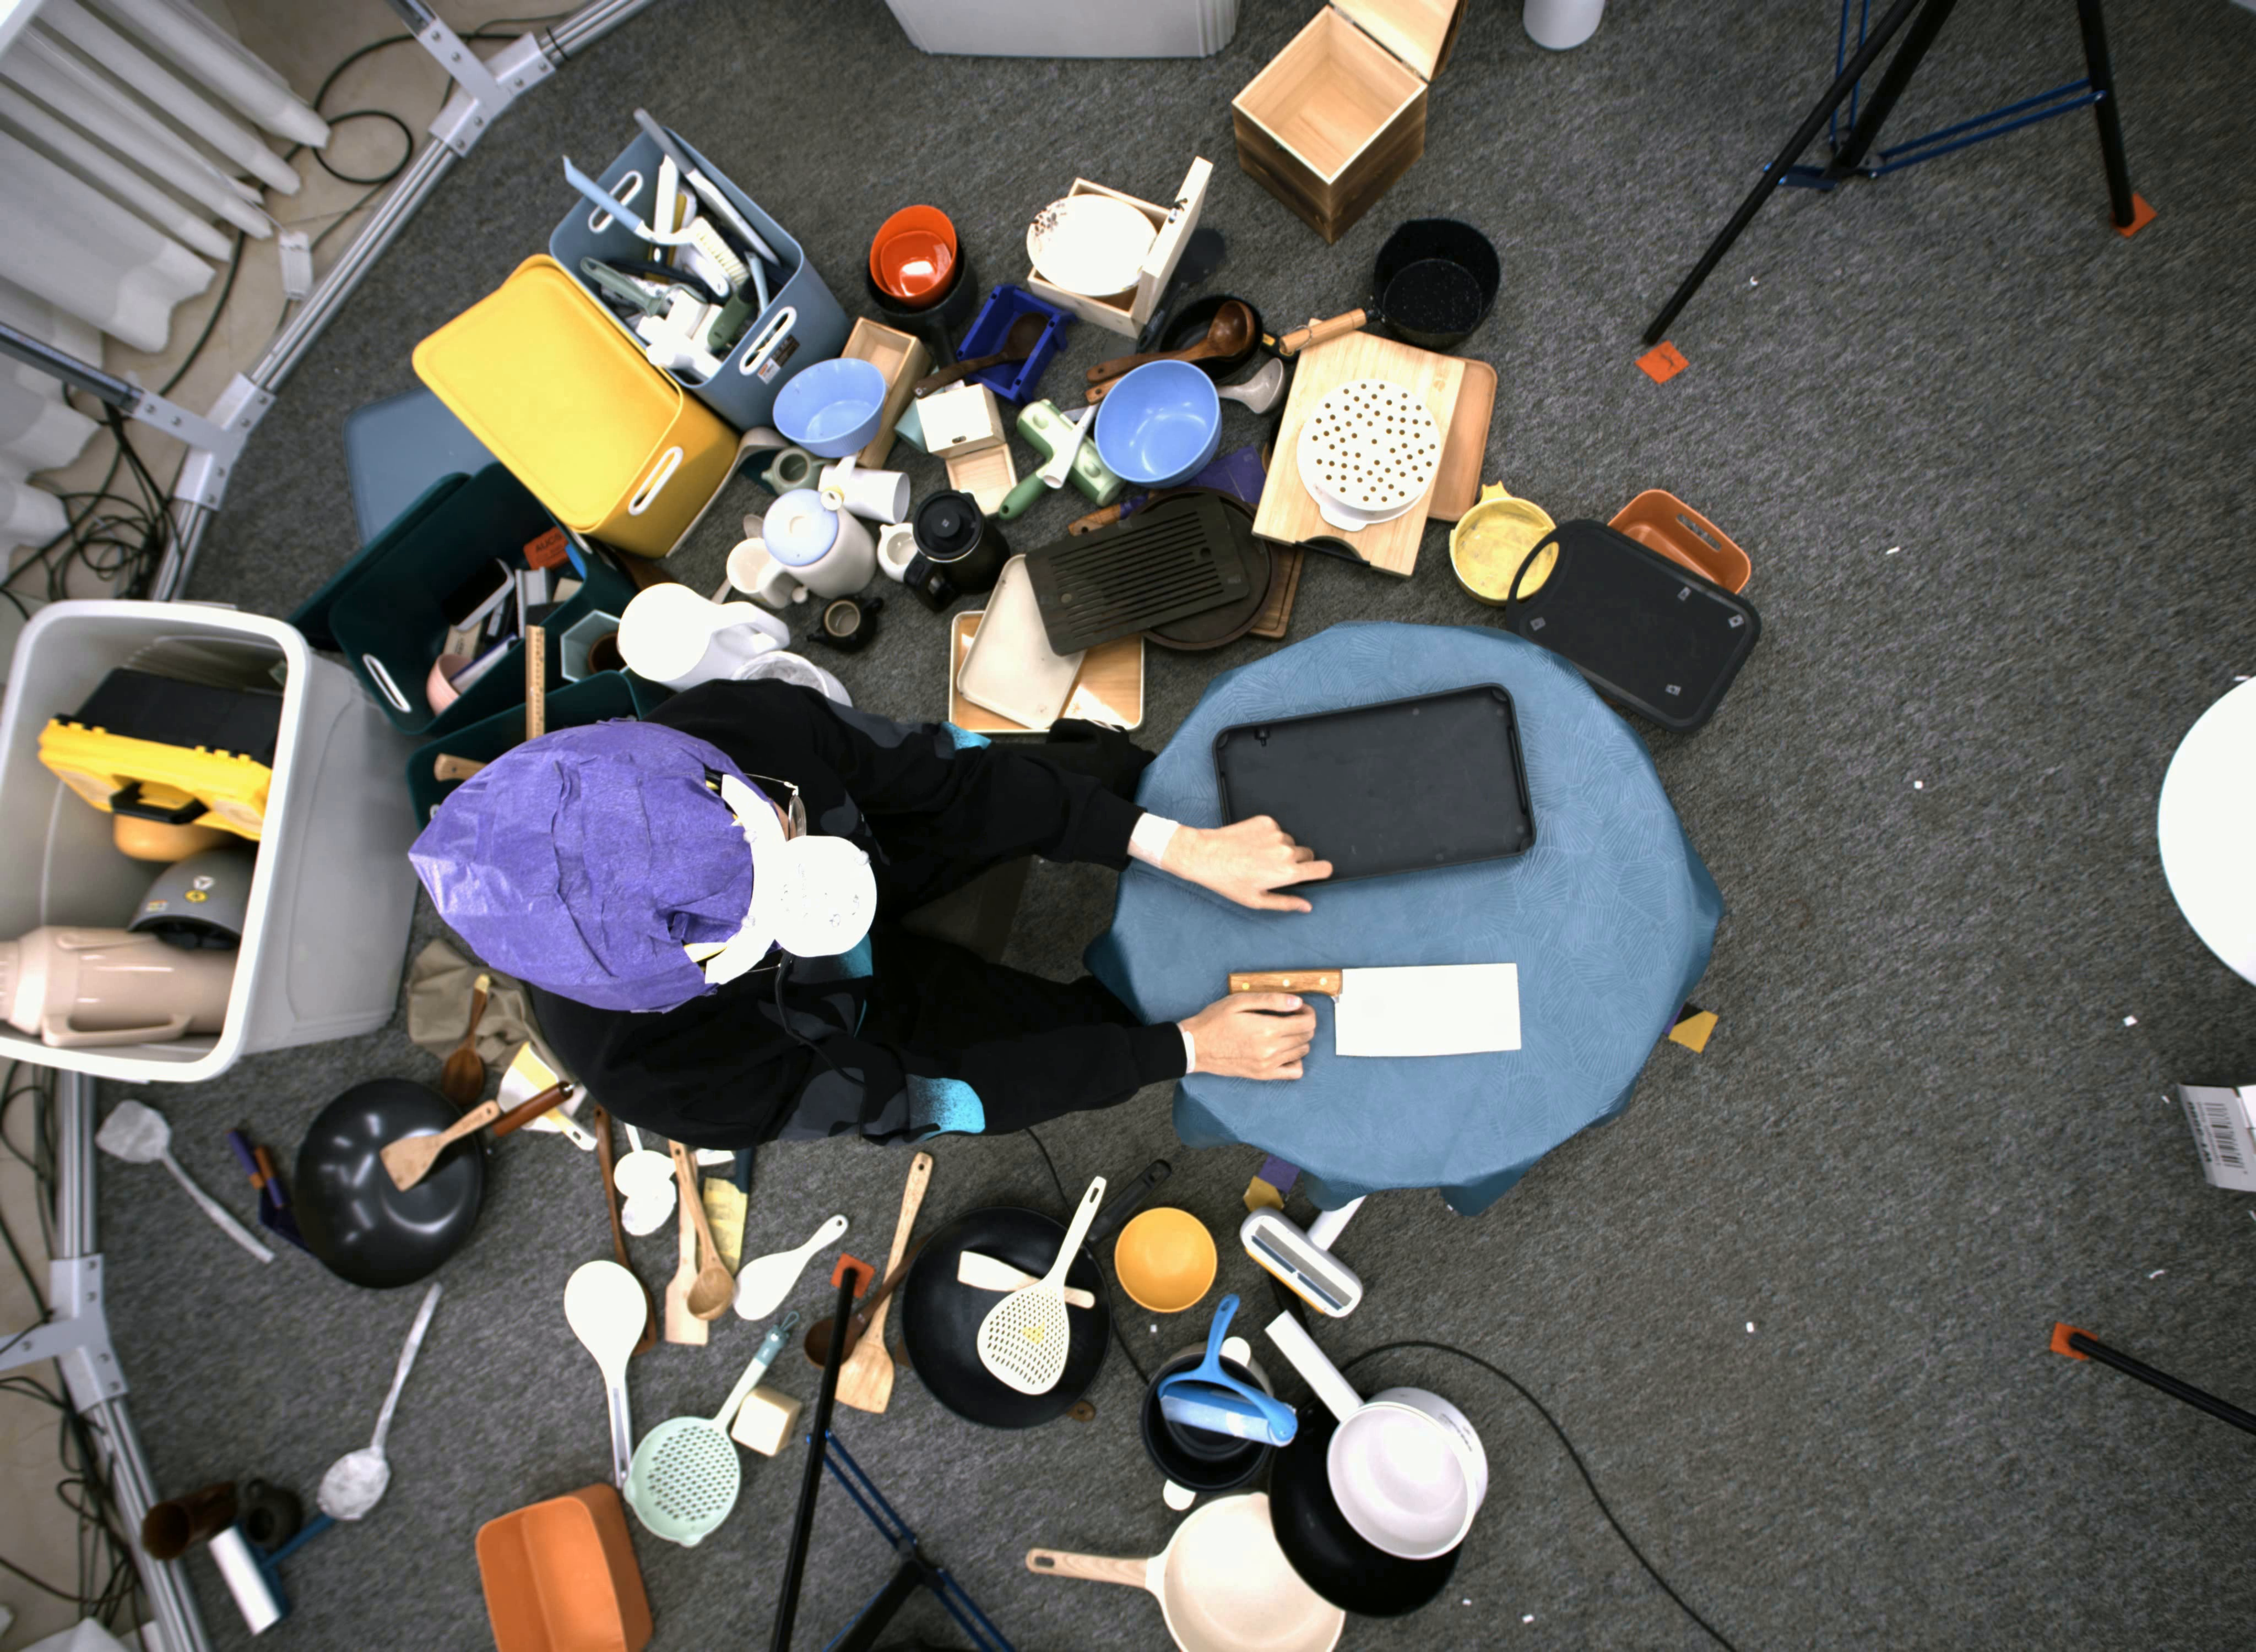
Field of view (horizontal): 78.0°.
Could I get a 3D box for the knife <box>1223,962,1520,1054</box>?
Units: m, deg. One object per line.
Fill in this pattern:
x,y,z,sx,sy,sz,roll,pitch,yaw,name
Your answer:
0.254,0.190,1.449,0.307,0.021,0.092,-3,88,8,knife

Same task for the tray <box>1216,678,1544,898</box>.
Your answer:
0.262,-0.039,1.449,0.319,0.037,0.183,-11,85,10,tray
